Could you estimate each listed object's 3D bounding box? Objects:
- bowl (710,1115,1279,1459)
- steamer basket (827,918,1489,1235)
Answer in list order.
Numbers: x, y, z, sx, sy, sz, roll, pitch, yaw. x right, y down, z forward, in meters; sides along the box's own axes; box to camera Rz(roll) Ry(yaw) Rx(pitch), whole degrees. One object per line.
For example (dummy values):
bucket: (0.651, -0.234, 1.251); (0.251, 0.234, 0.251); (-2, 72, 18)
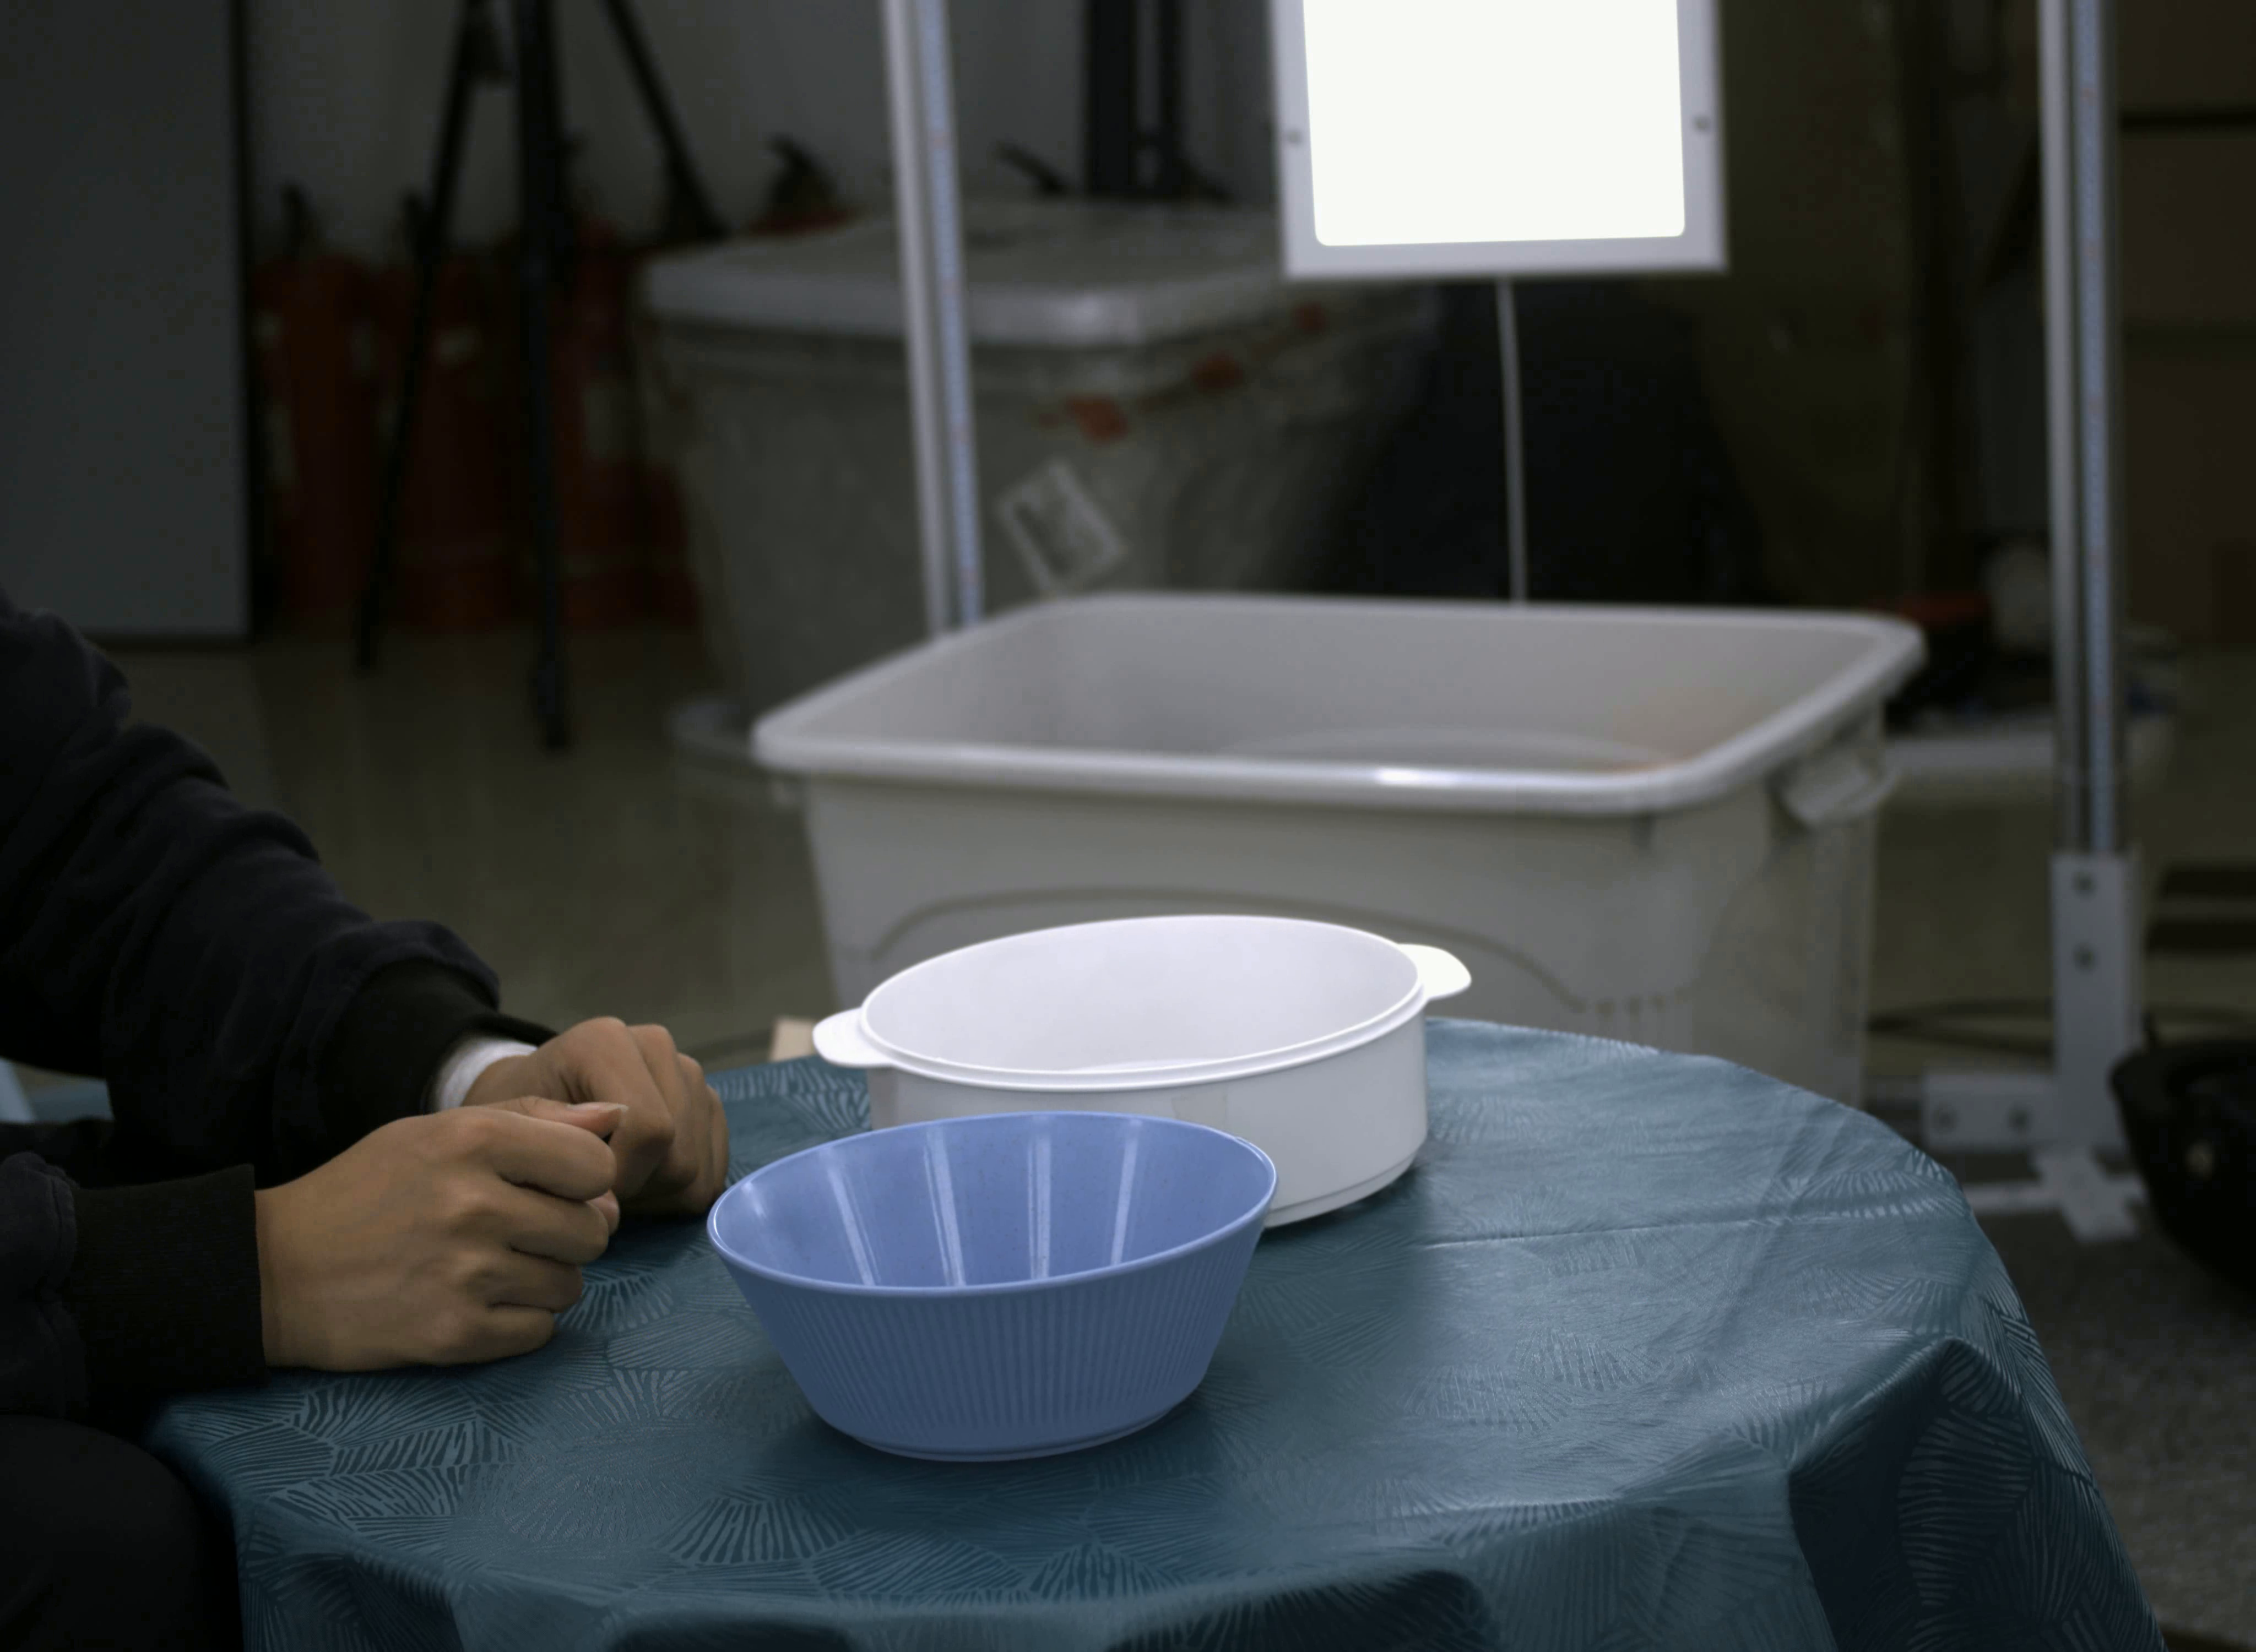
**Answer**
bowl: (-0.038, 0.144, 1.691); (0.175, 0.070, 0.176); (-5, 13, 0)
steamer basket: (0.012, 0.088, 1.908); (0.228, 0.069, 0.203); (-5, 13, -8)
